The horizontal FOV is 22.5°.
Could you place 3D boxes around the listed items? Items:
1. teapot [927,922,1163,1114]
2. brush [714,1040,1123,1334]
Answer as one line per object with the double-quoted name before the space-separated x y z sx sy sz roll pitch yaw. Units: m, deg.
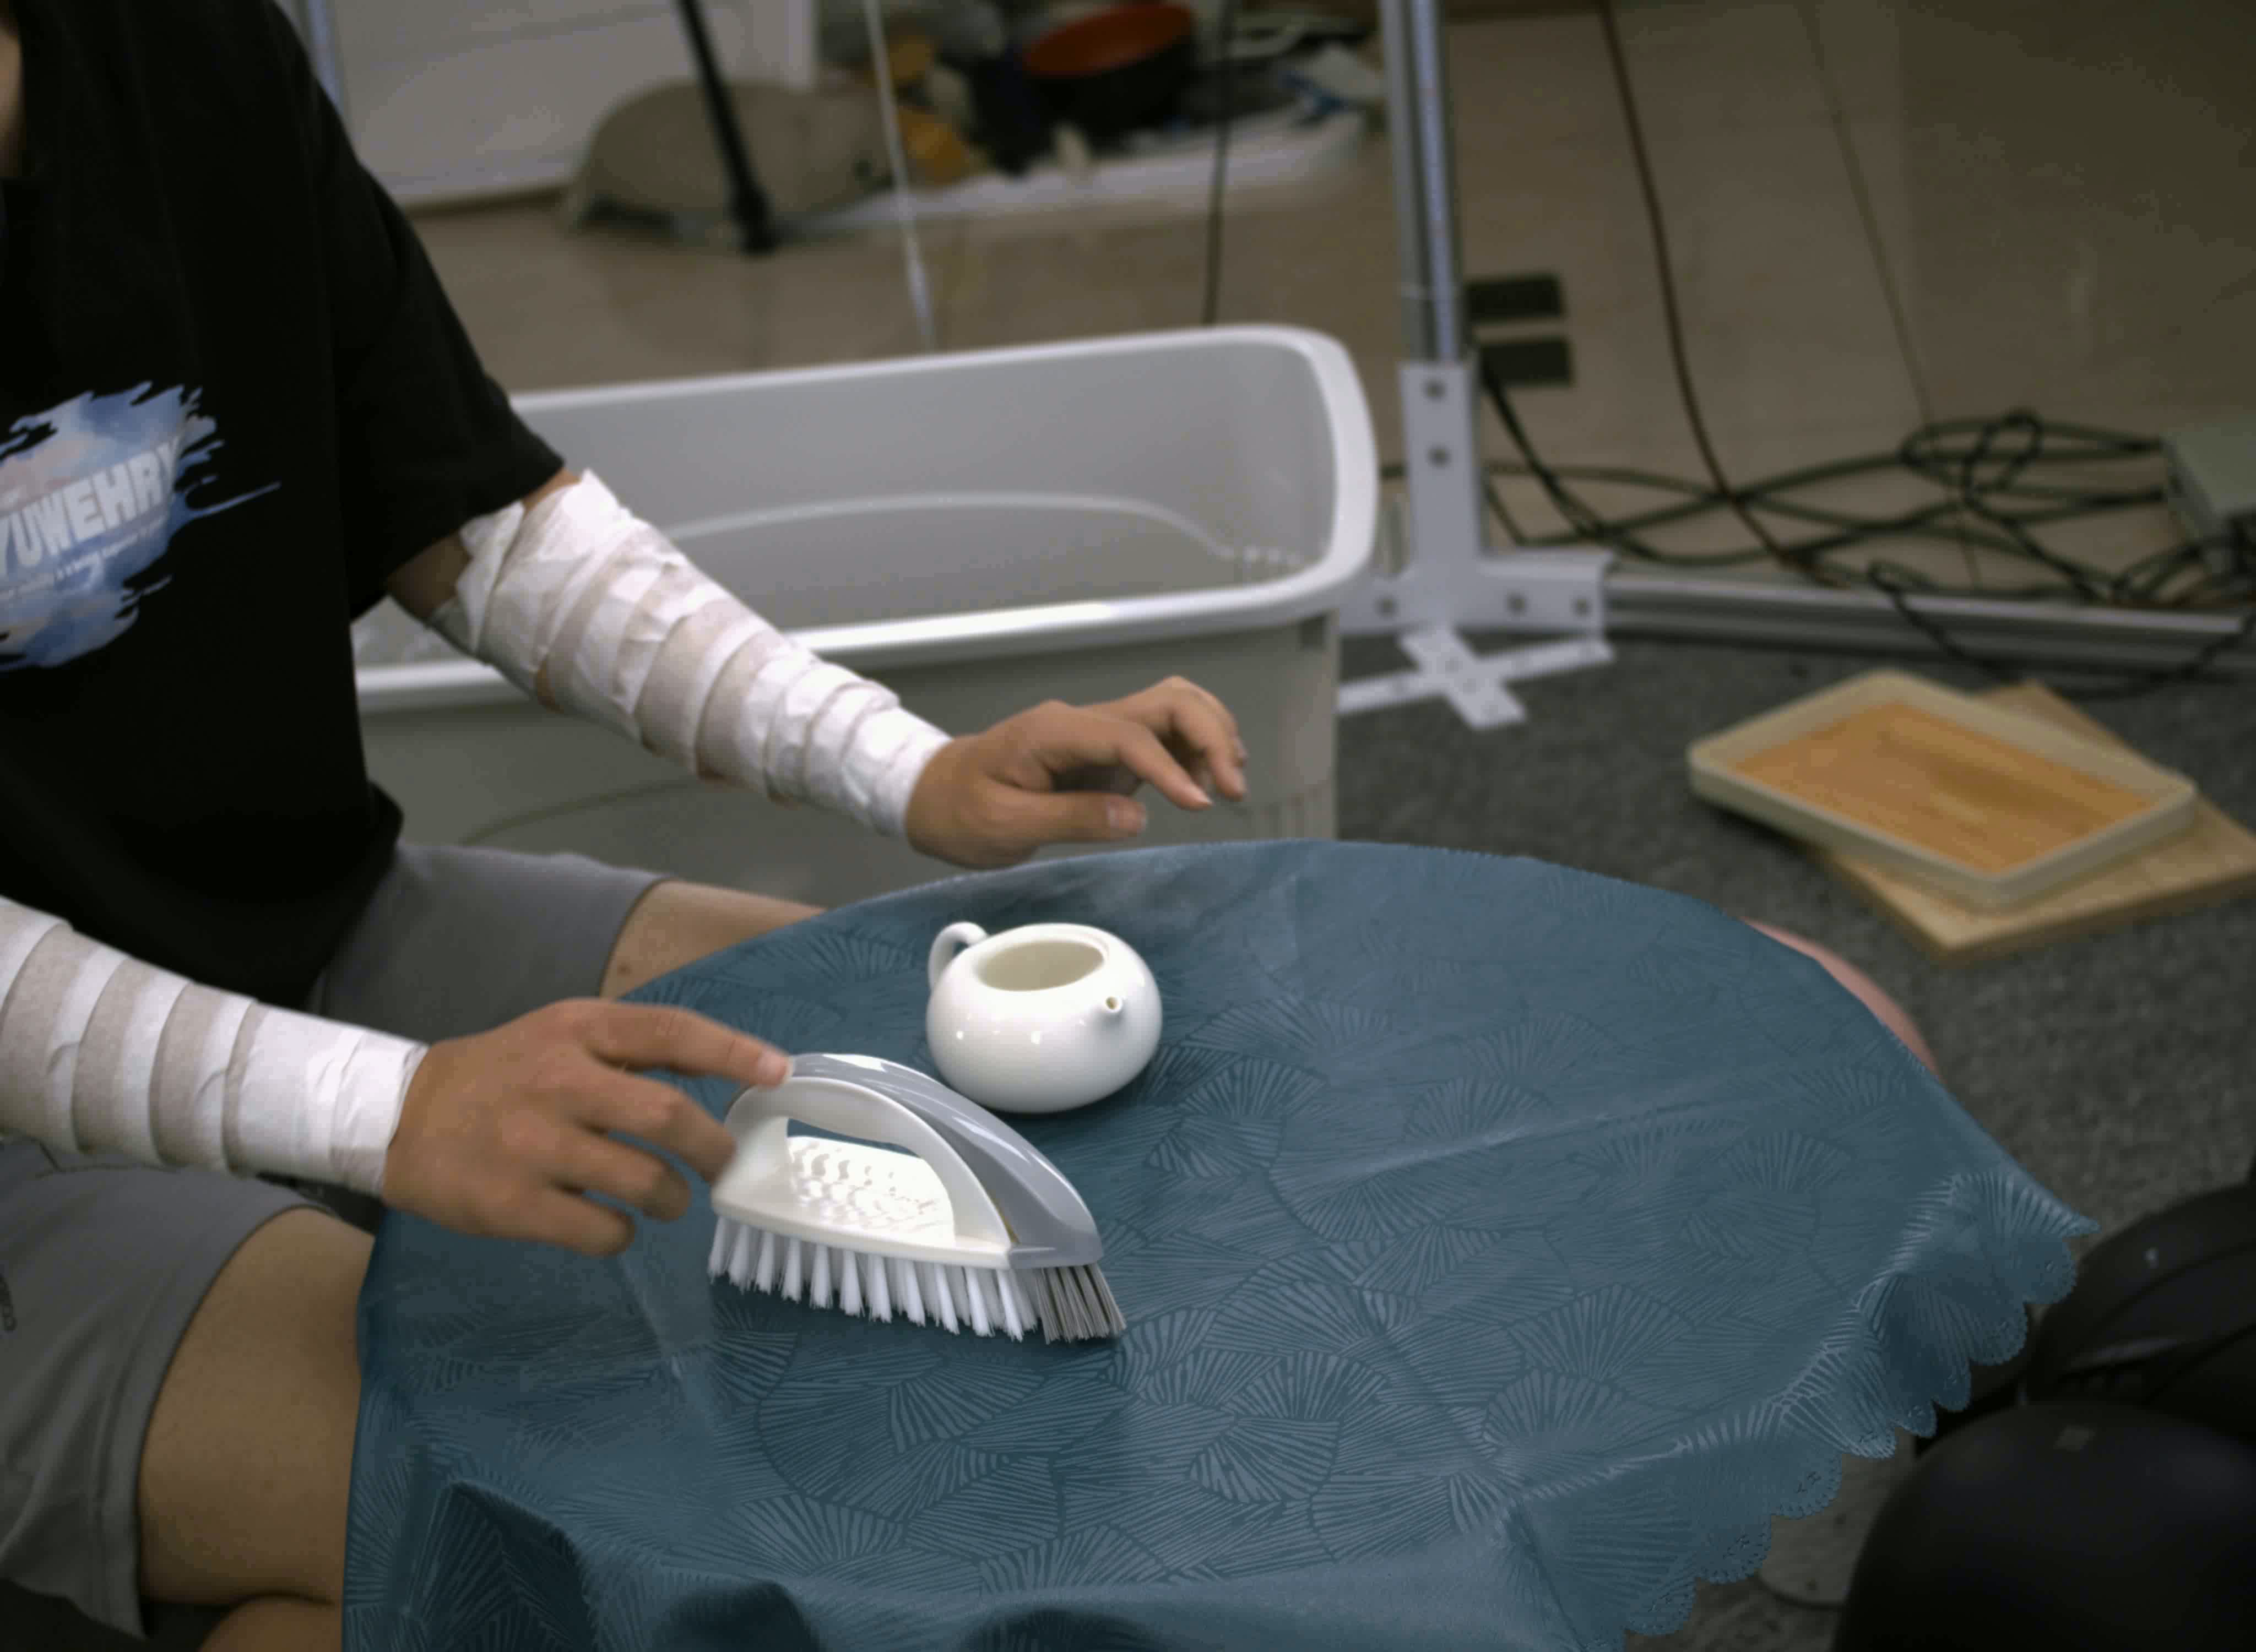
"teapot" -0.040 0.073 2.234 0.092 0.057 0.126 -29 31 -32
"brush" -0.077 0.129 2.079 0.174 0.096 0.061 14 34 34
